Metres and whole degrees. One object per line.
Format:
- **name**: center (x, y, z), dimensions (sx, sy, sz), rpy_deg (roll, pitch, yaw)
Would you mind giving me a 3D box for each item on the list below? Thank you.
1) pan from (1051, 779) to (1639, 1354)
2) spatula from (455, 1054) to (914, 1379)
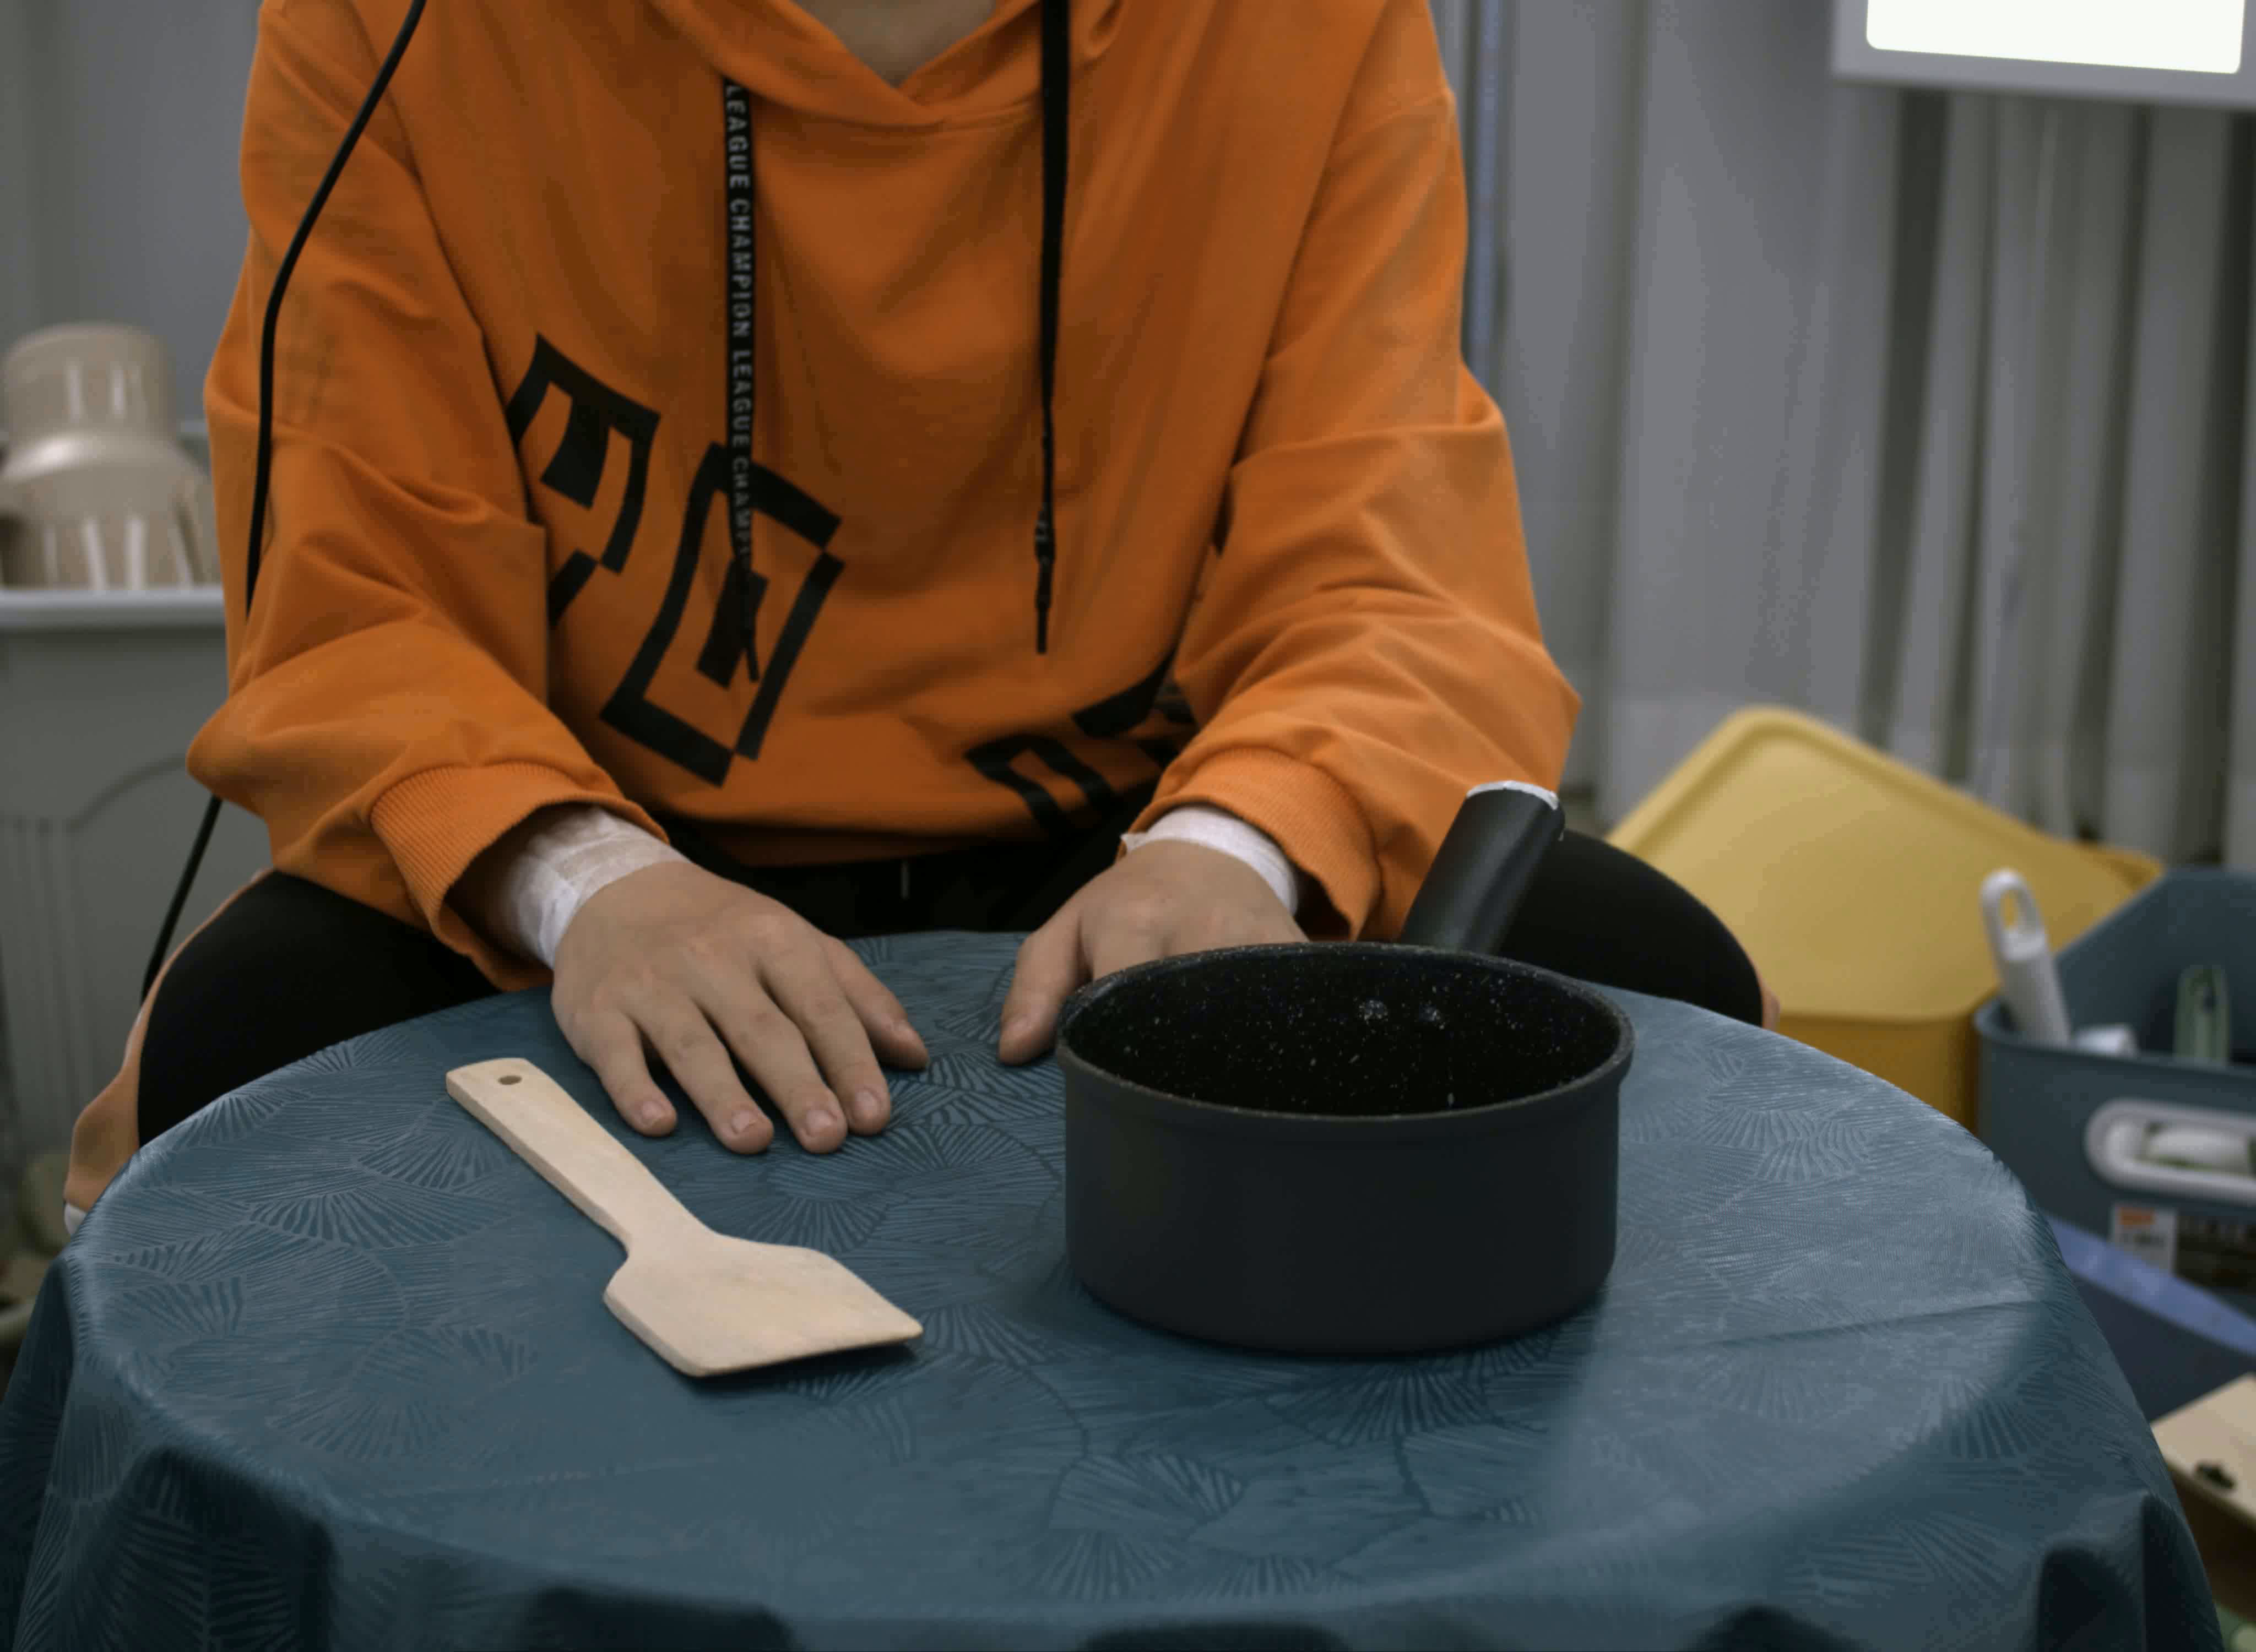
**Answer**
- **pan**: center (0.088, 0.069, 1.621), dimensions (0.170, 0.087, 0.328), rpy_deg (6, 18, 18)
- **spatula**: center (-0.150, 0.114, 1.594), dimensions (0.072, 0.011, 0.289), rpy_deg (-10, 18, -23)
